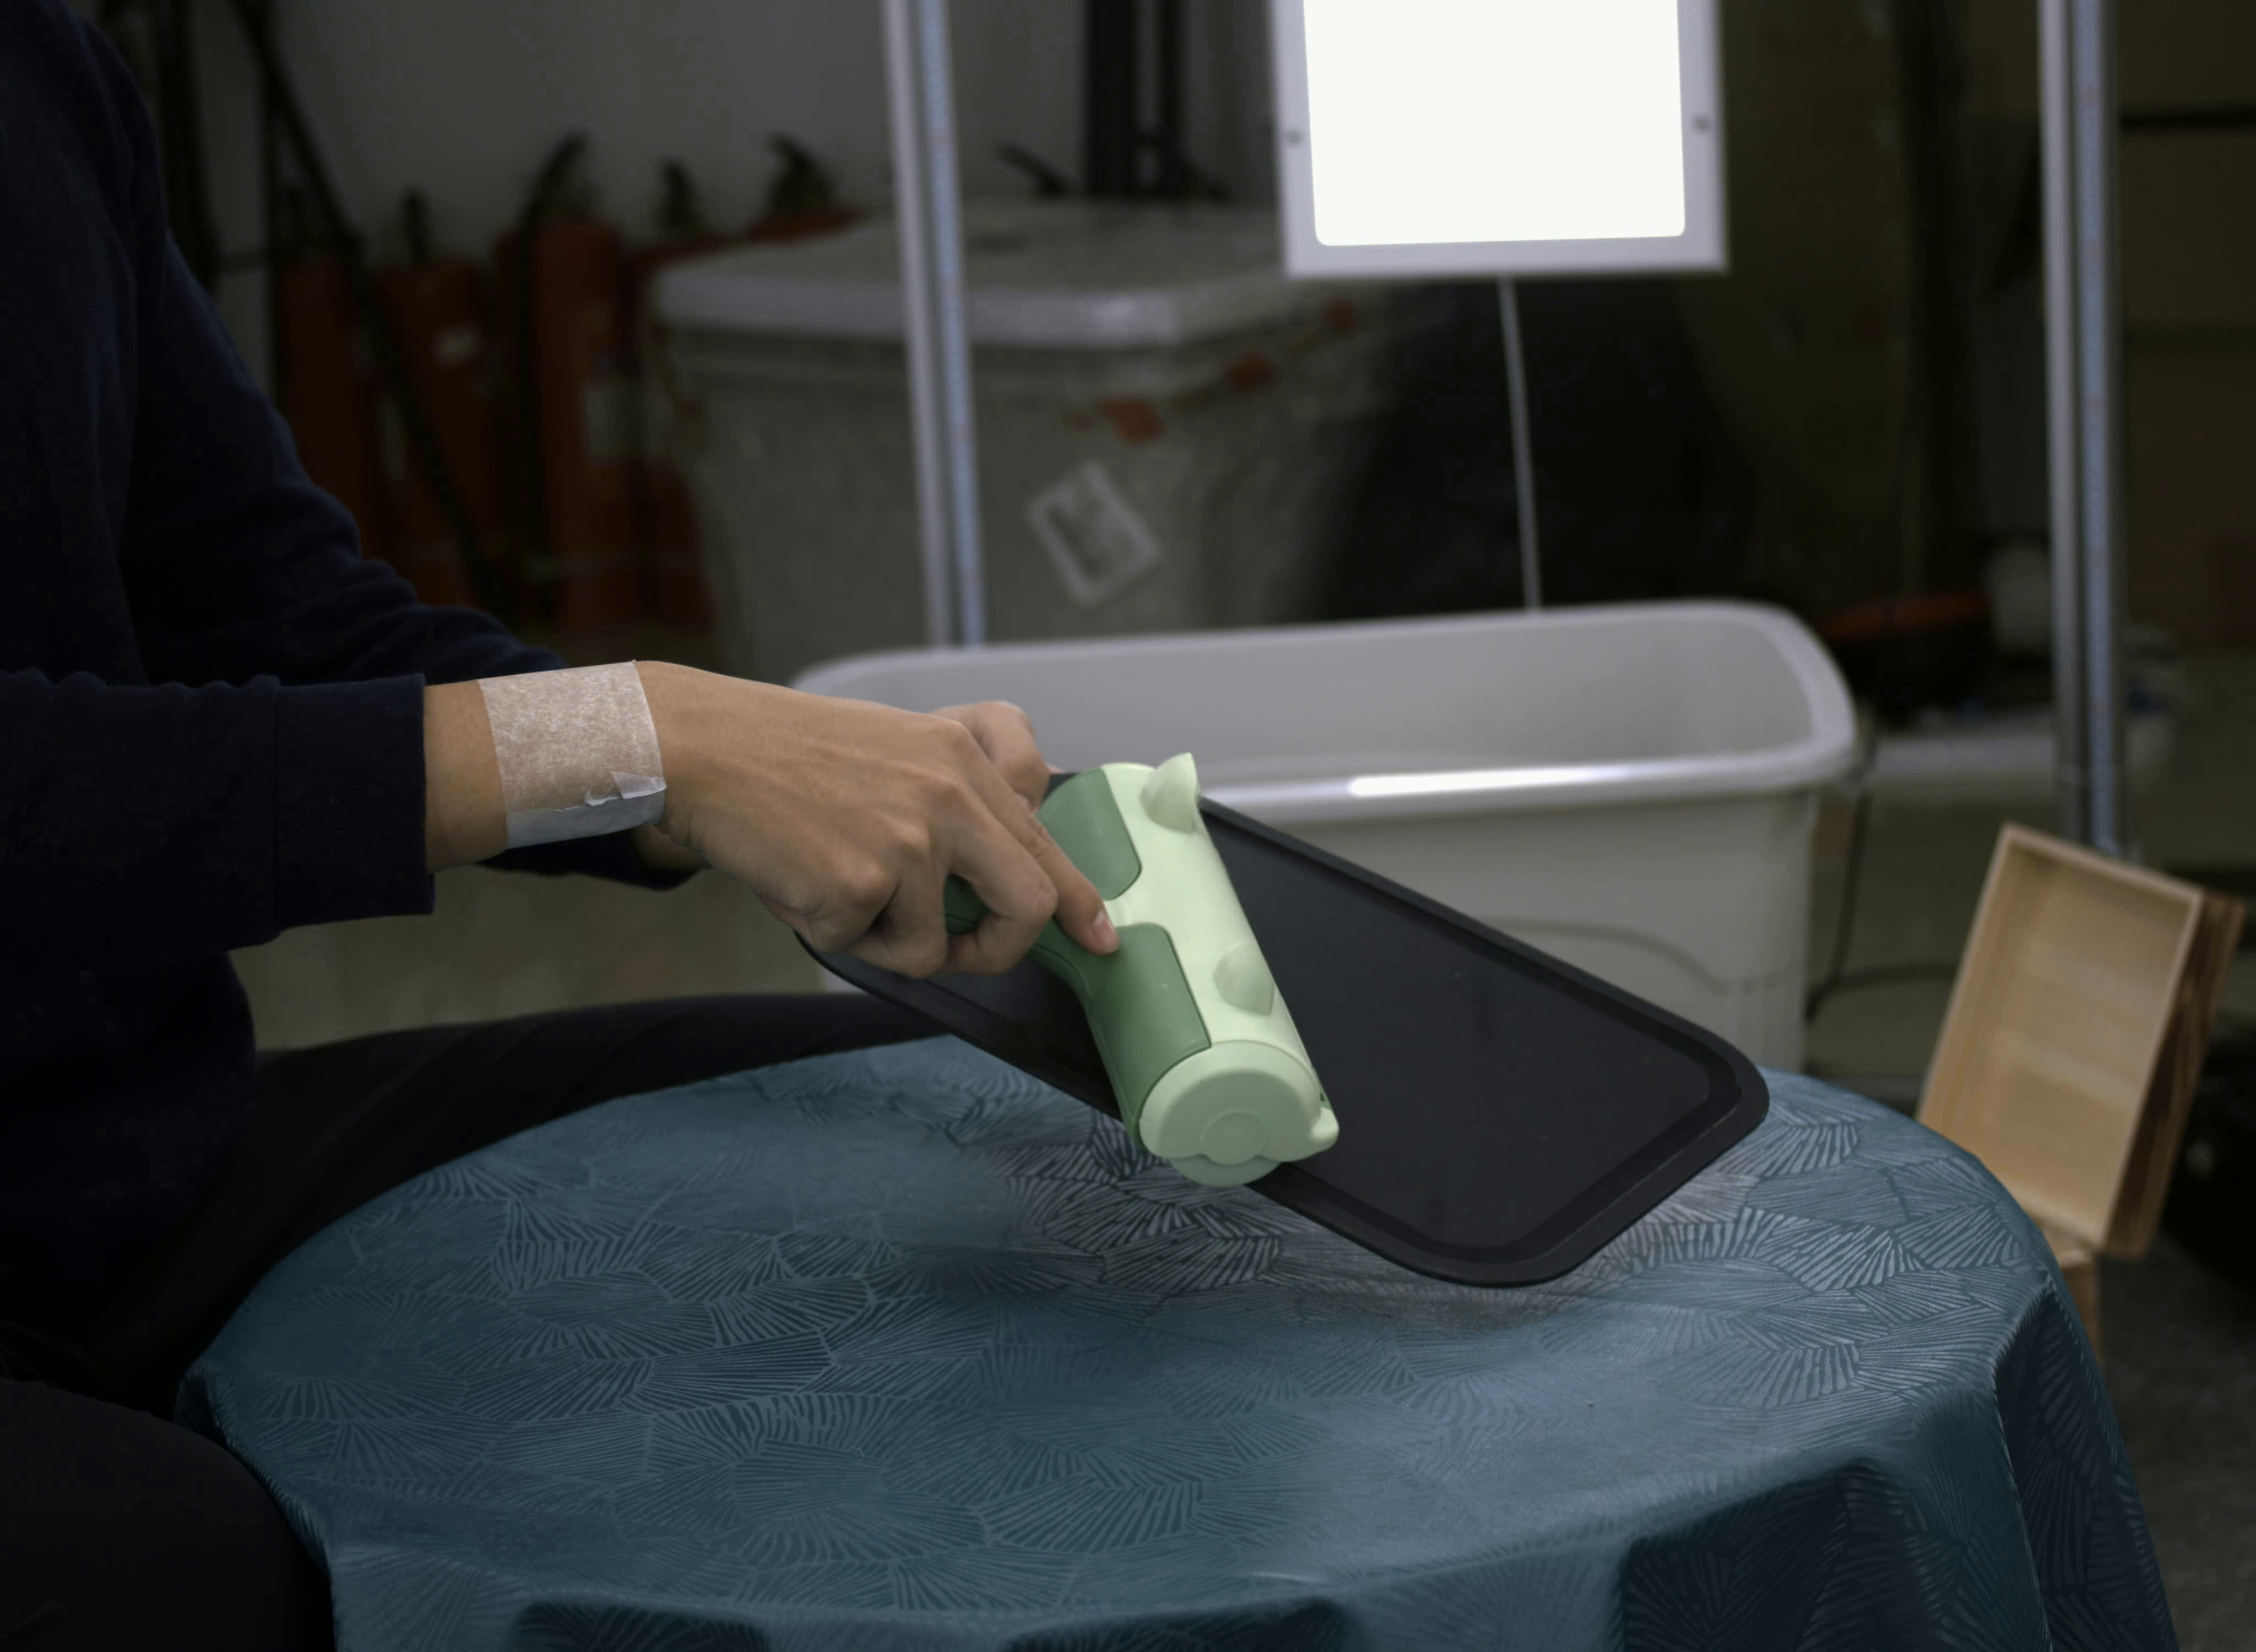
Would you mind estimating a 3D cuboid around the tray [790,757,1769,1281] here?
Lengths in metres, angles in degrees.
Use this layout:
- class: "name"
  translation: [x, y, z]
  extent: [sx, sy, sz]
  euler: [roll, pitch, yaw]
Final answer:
- class: "tray"
  translation: [0.044, 0.056, 1.858]
  extent: [0.330, 0.010, 0.206]
  euler: [26, 32, 27]

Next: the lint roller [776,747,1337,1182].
- class: "lint roller"
  translation: [-0.023, 0.014, 1.788]
  extent: [0.180, 0.083, 0.199]
  euler: [31, 19, -27]
